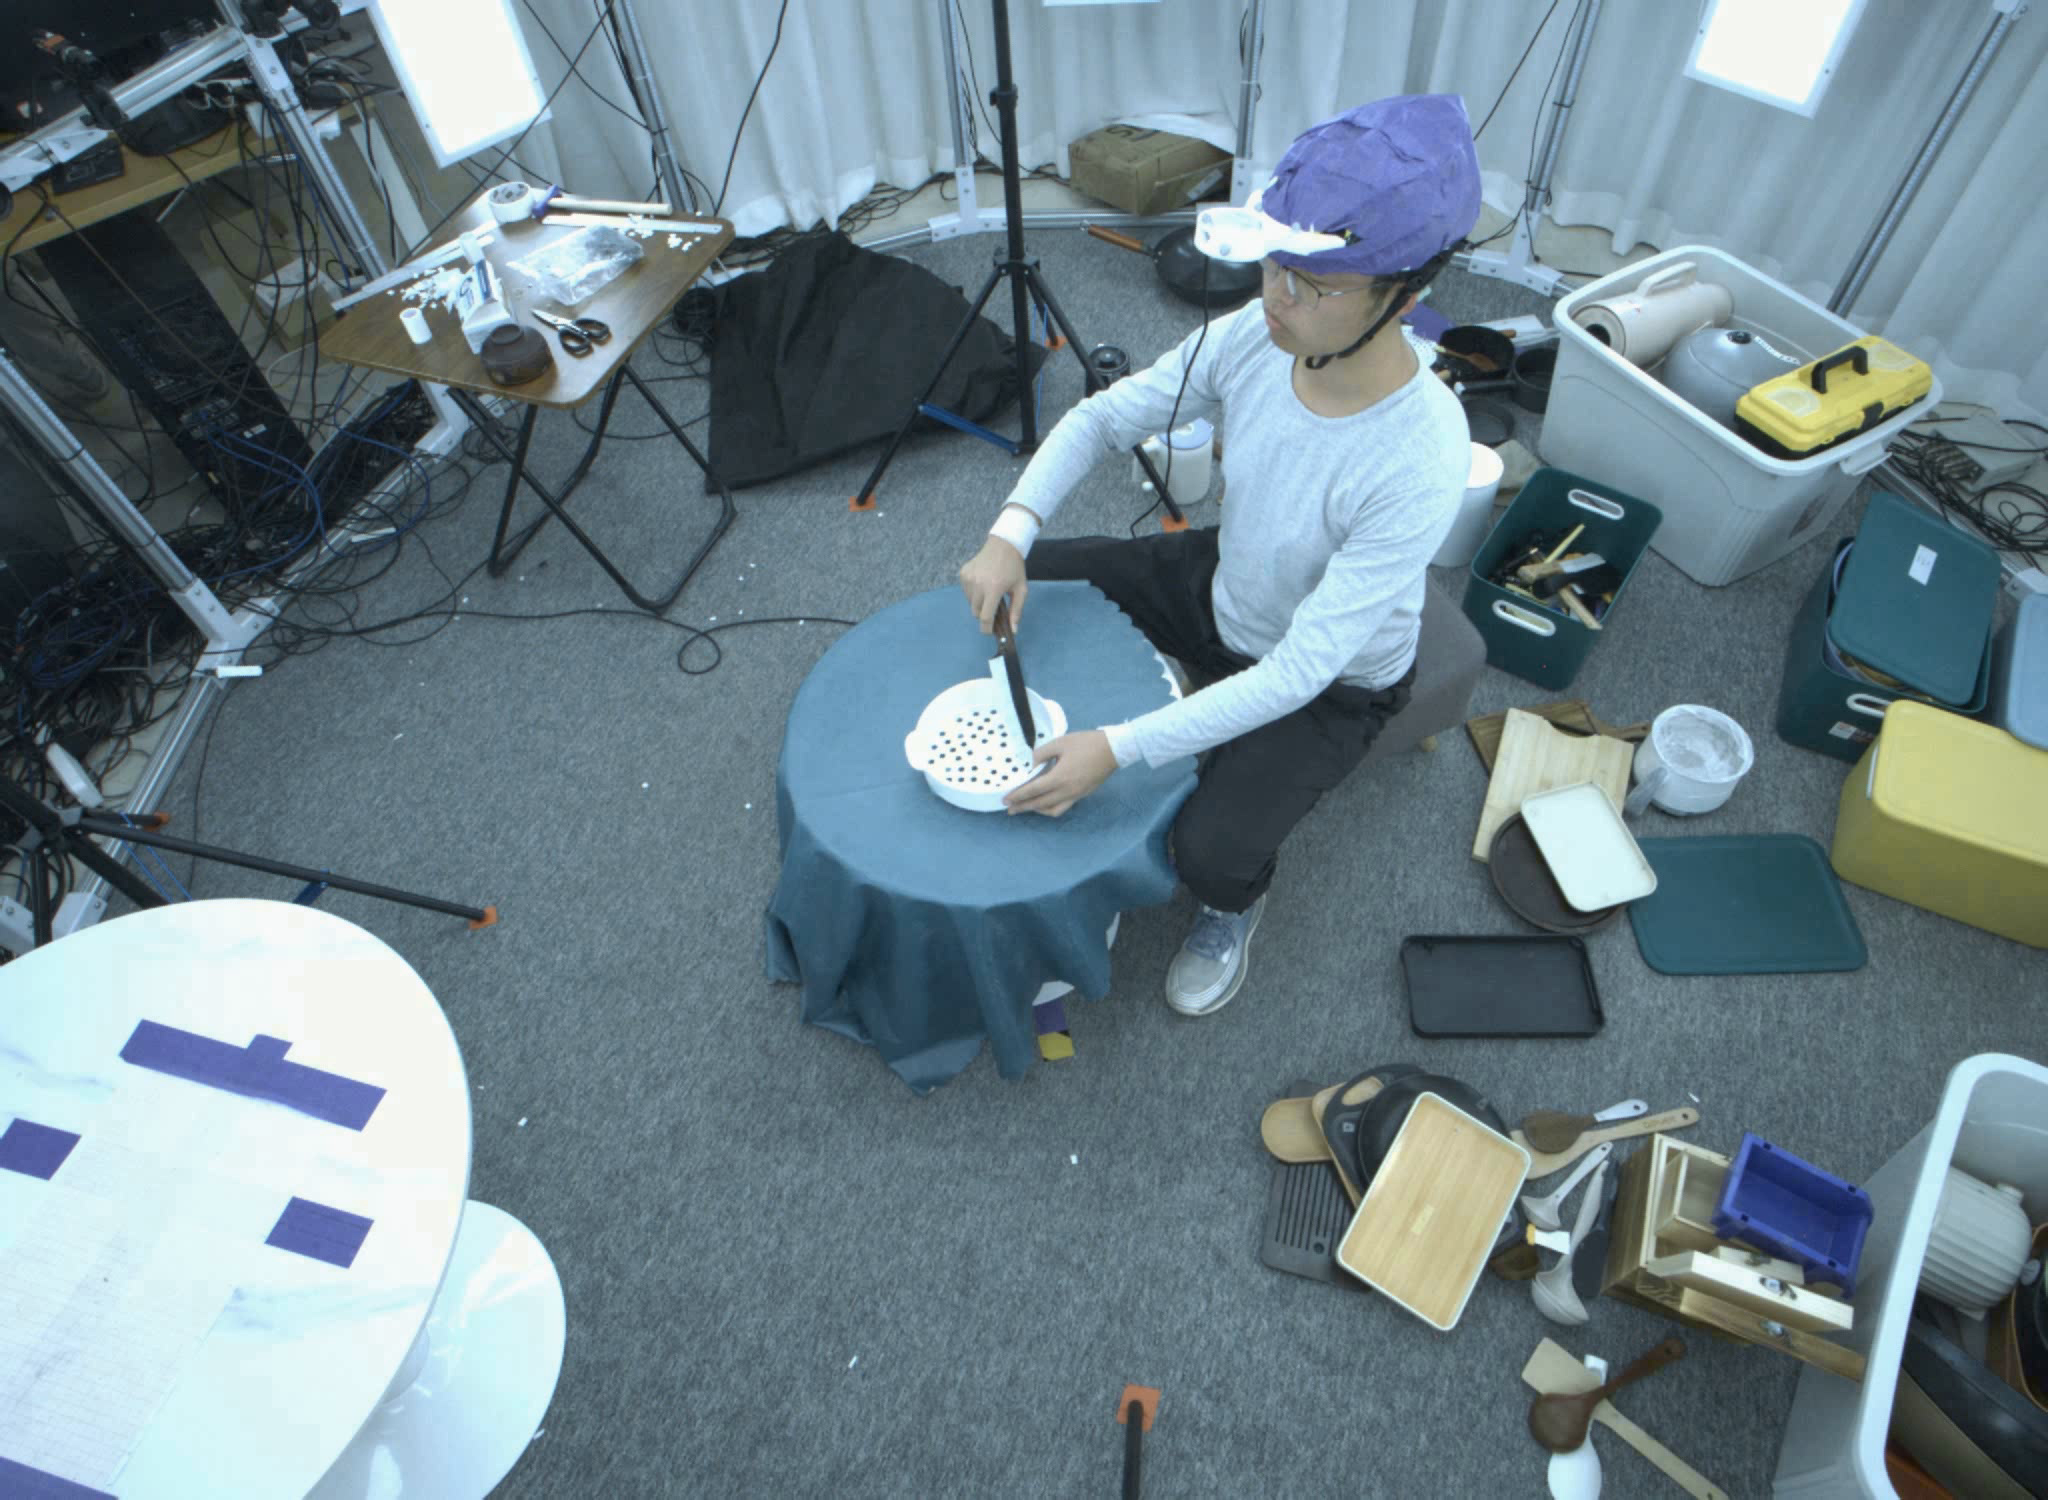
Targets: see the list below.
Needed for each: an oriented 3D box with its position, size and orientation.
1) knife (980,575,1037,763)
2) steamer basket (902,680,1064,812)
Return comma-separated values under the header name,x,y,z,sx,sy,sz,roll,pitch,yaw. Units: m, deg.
name,x,y,z,sx,sy,sz,roll,pitch,yaw
knife,-0.024,-0.118,1.770,0.050,0.020,0.287,-17,75,20
steamer basket,-0.057,-0.004,1.759,0.232,0.070,0.198,-12,55,-9
